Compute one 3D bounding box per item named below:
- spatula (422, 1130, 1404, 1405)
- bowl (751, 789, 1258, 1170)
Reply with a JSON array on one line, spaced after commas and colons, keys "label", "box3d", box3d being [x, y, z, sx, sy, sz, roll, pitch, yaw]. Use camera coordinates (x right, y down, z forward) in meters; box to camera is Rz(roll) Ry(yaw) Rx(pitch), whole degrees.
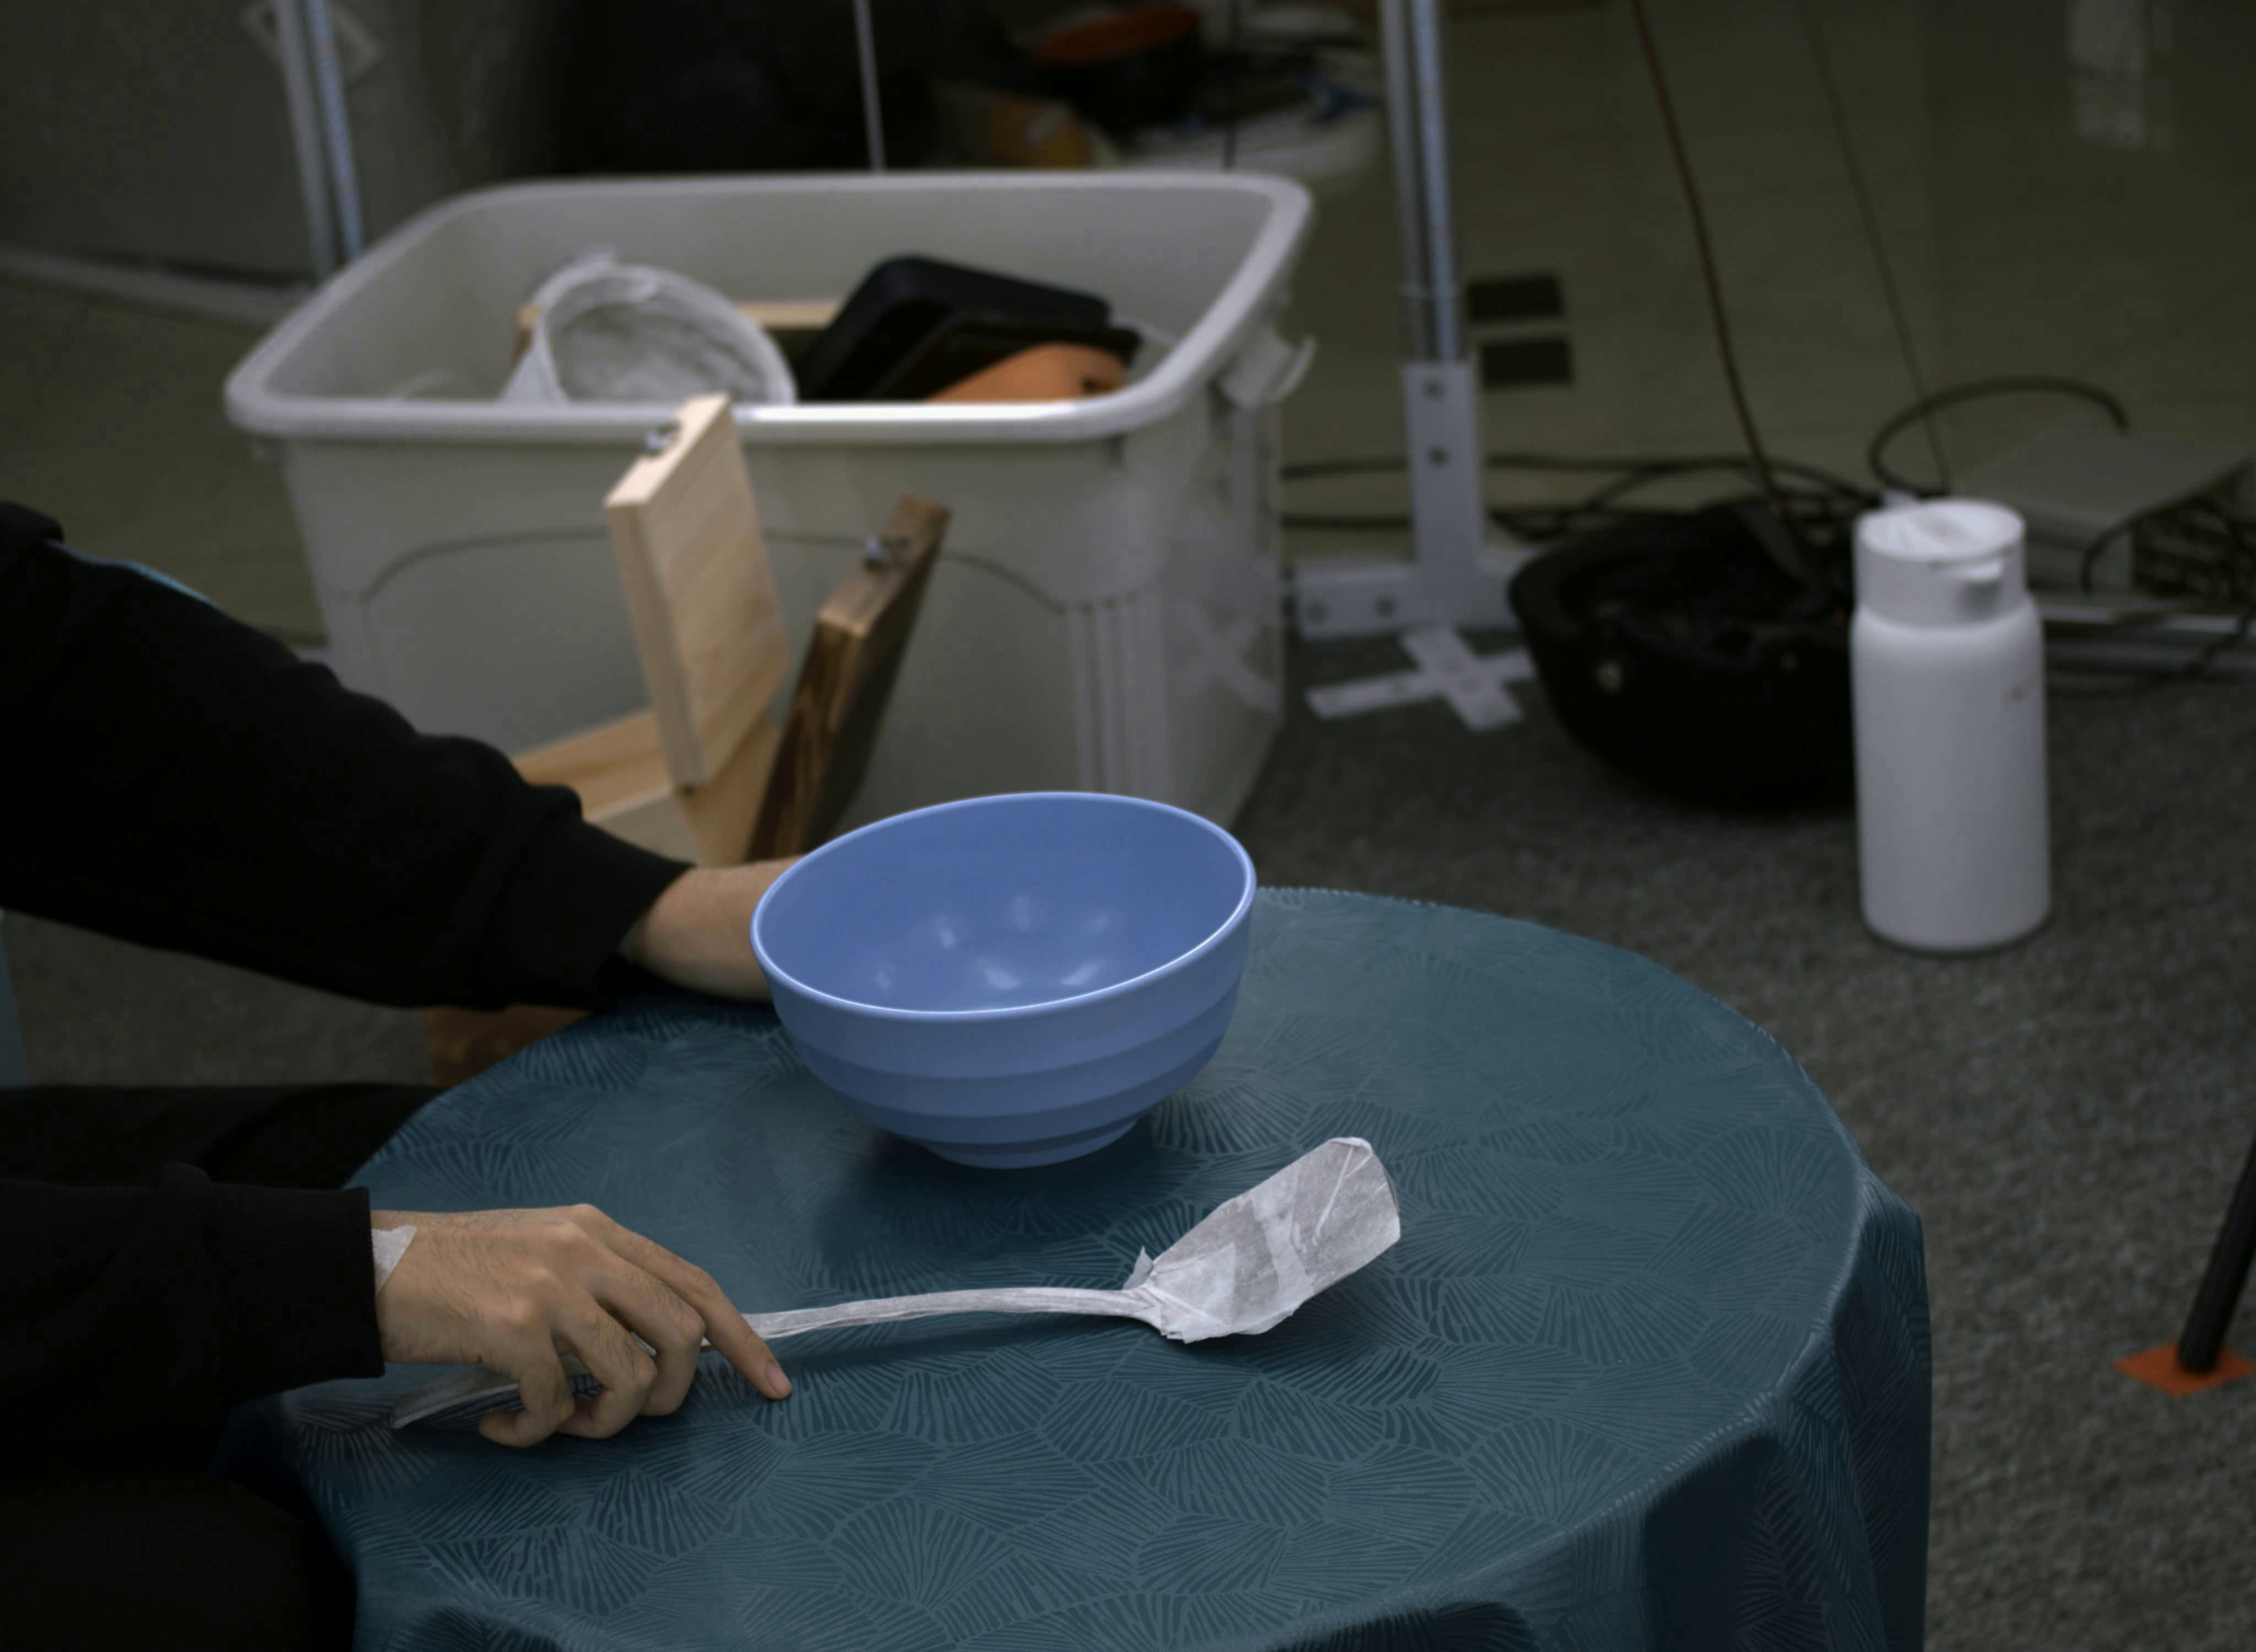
[{"label": "spatula", "box3d": [-0.080, 0.170, 2.060, 0.364, 0.045, 0.097, -7, 27, -2]}, {"label": "bowl", "box3d": [-0.044, 0.070, 2.197, 0.196, 0.097, 0.193, -5, 26, 2]}]
